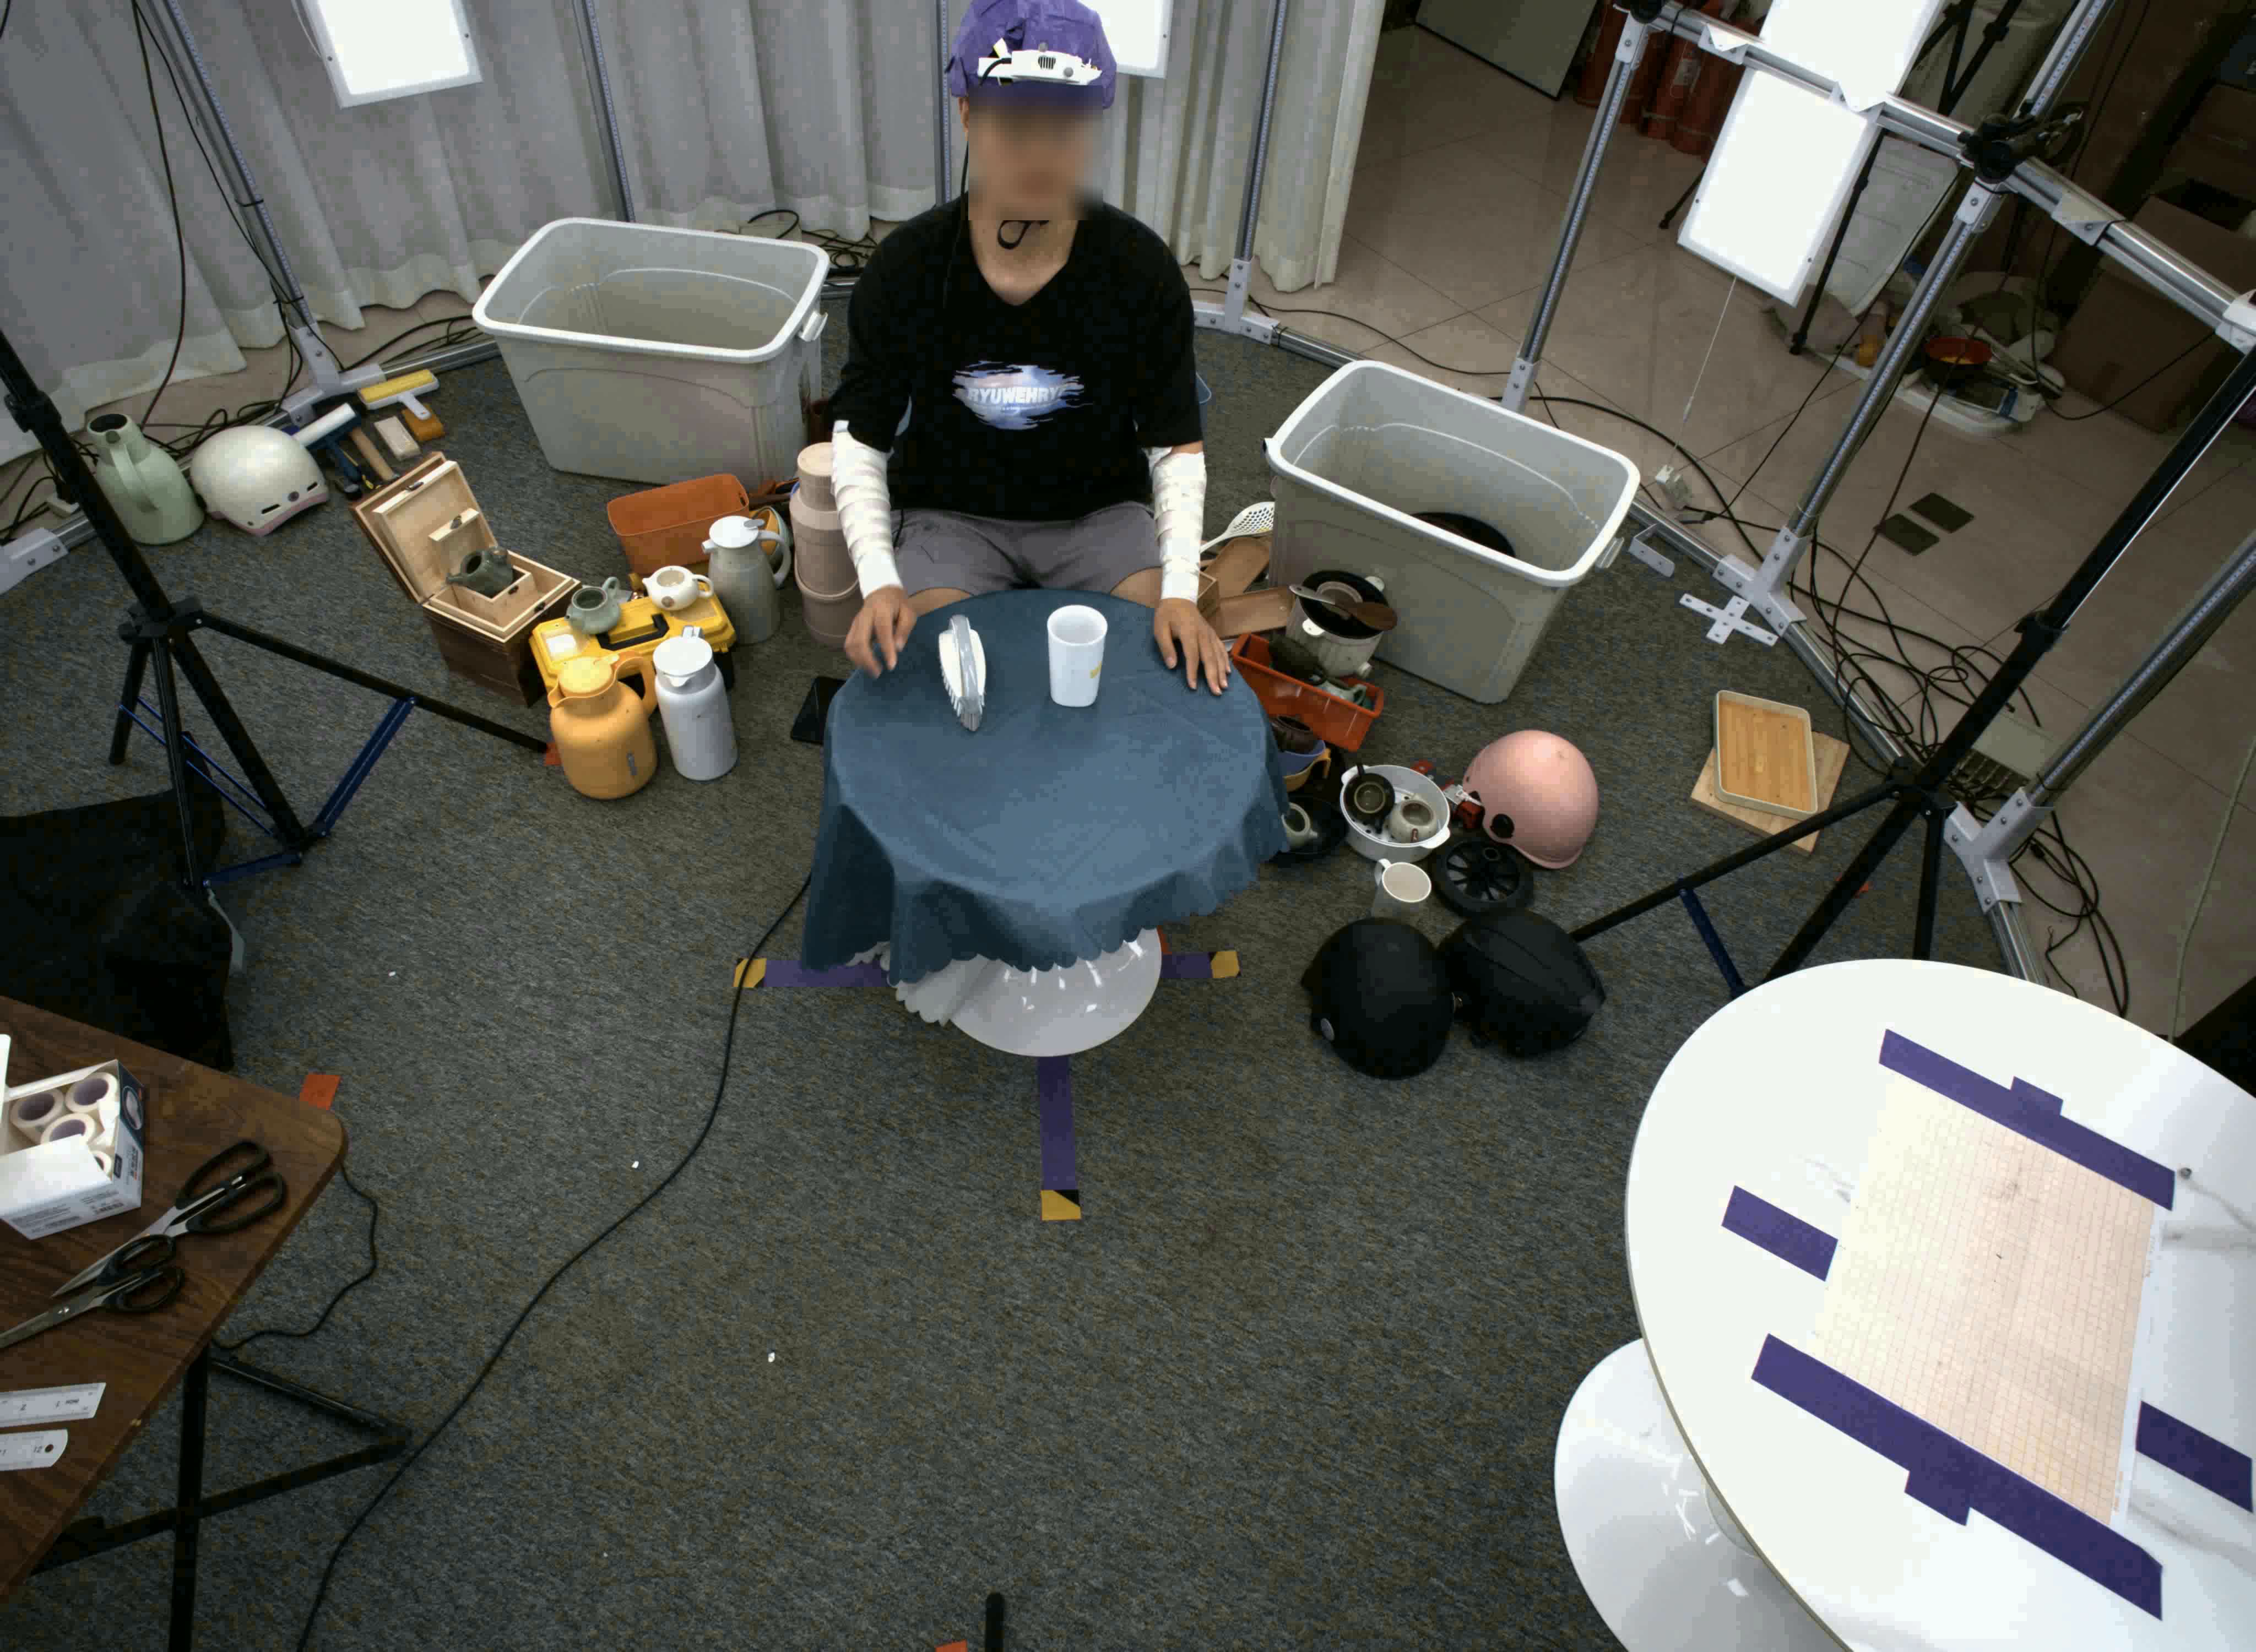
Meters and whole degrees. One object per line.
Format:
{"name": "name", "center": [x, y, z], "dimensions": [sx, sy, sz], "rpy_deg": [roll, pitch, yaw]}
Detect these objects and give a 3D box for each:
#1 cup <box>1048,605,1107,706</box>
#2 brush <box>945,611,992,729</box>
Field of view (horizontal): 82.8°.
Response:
{"name": "cup", "center": [-0.071, -0.234, 1.790], "dimensions": [0.081, 0.122, 0.084], "rpy_deg": [1, 51, -2]}
{"name": "brush", "center": [-0.221, -0.227, 1.796], "dimensions": [0.061, 0.092, 0.180], "rpy_deg": [-9, 52, -5]}
